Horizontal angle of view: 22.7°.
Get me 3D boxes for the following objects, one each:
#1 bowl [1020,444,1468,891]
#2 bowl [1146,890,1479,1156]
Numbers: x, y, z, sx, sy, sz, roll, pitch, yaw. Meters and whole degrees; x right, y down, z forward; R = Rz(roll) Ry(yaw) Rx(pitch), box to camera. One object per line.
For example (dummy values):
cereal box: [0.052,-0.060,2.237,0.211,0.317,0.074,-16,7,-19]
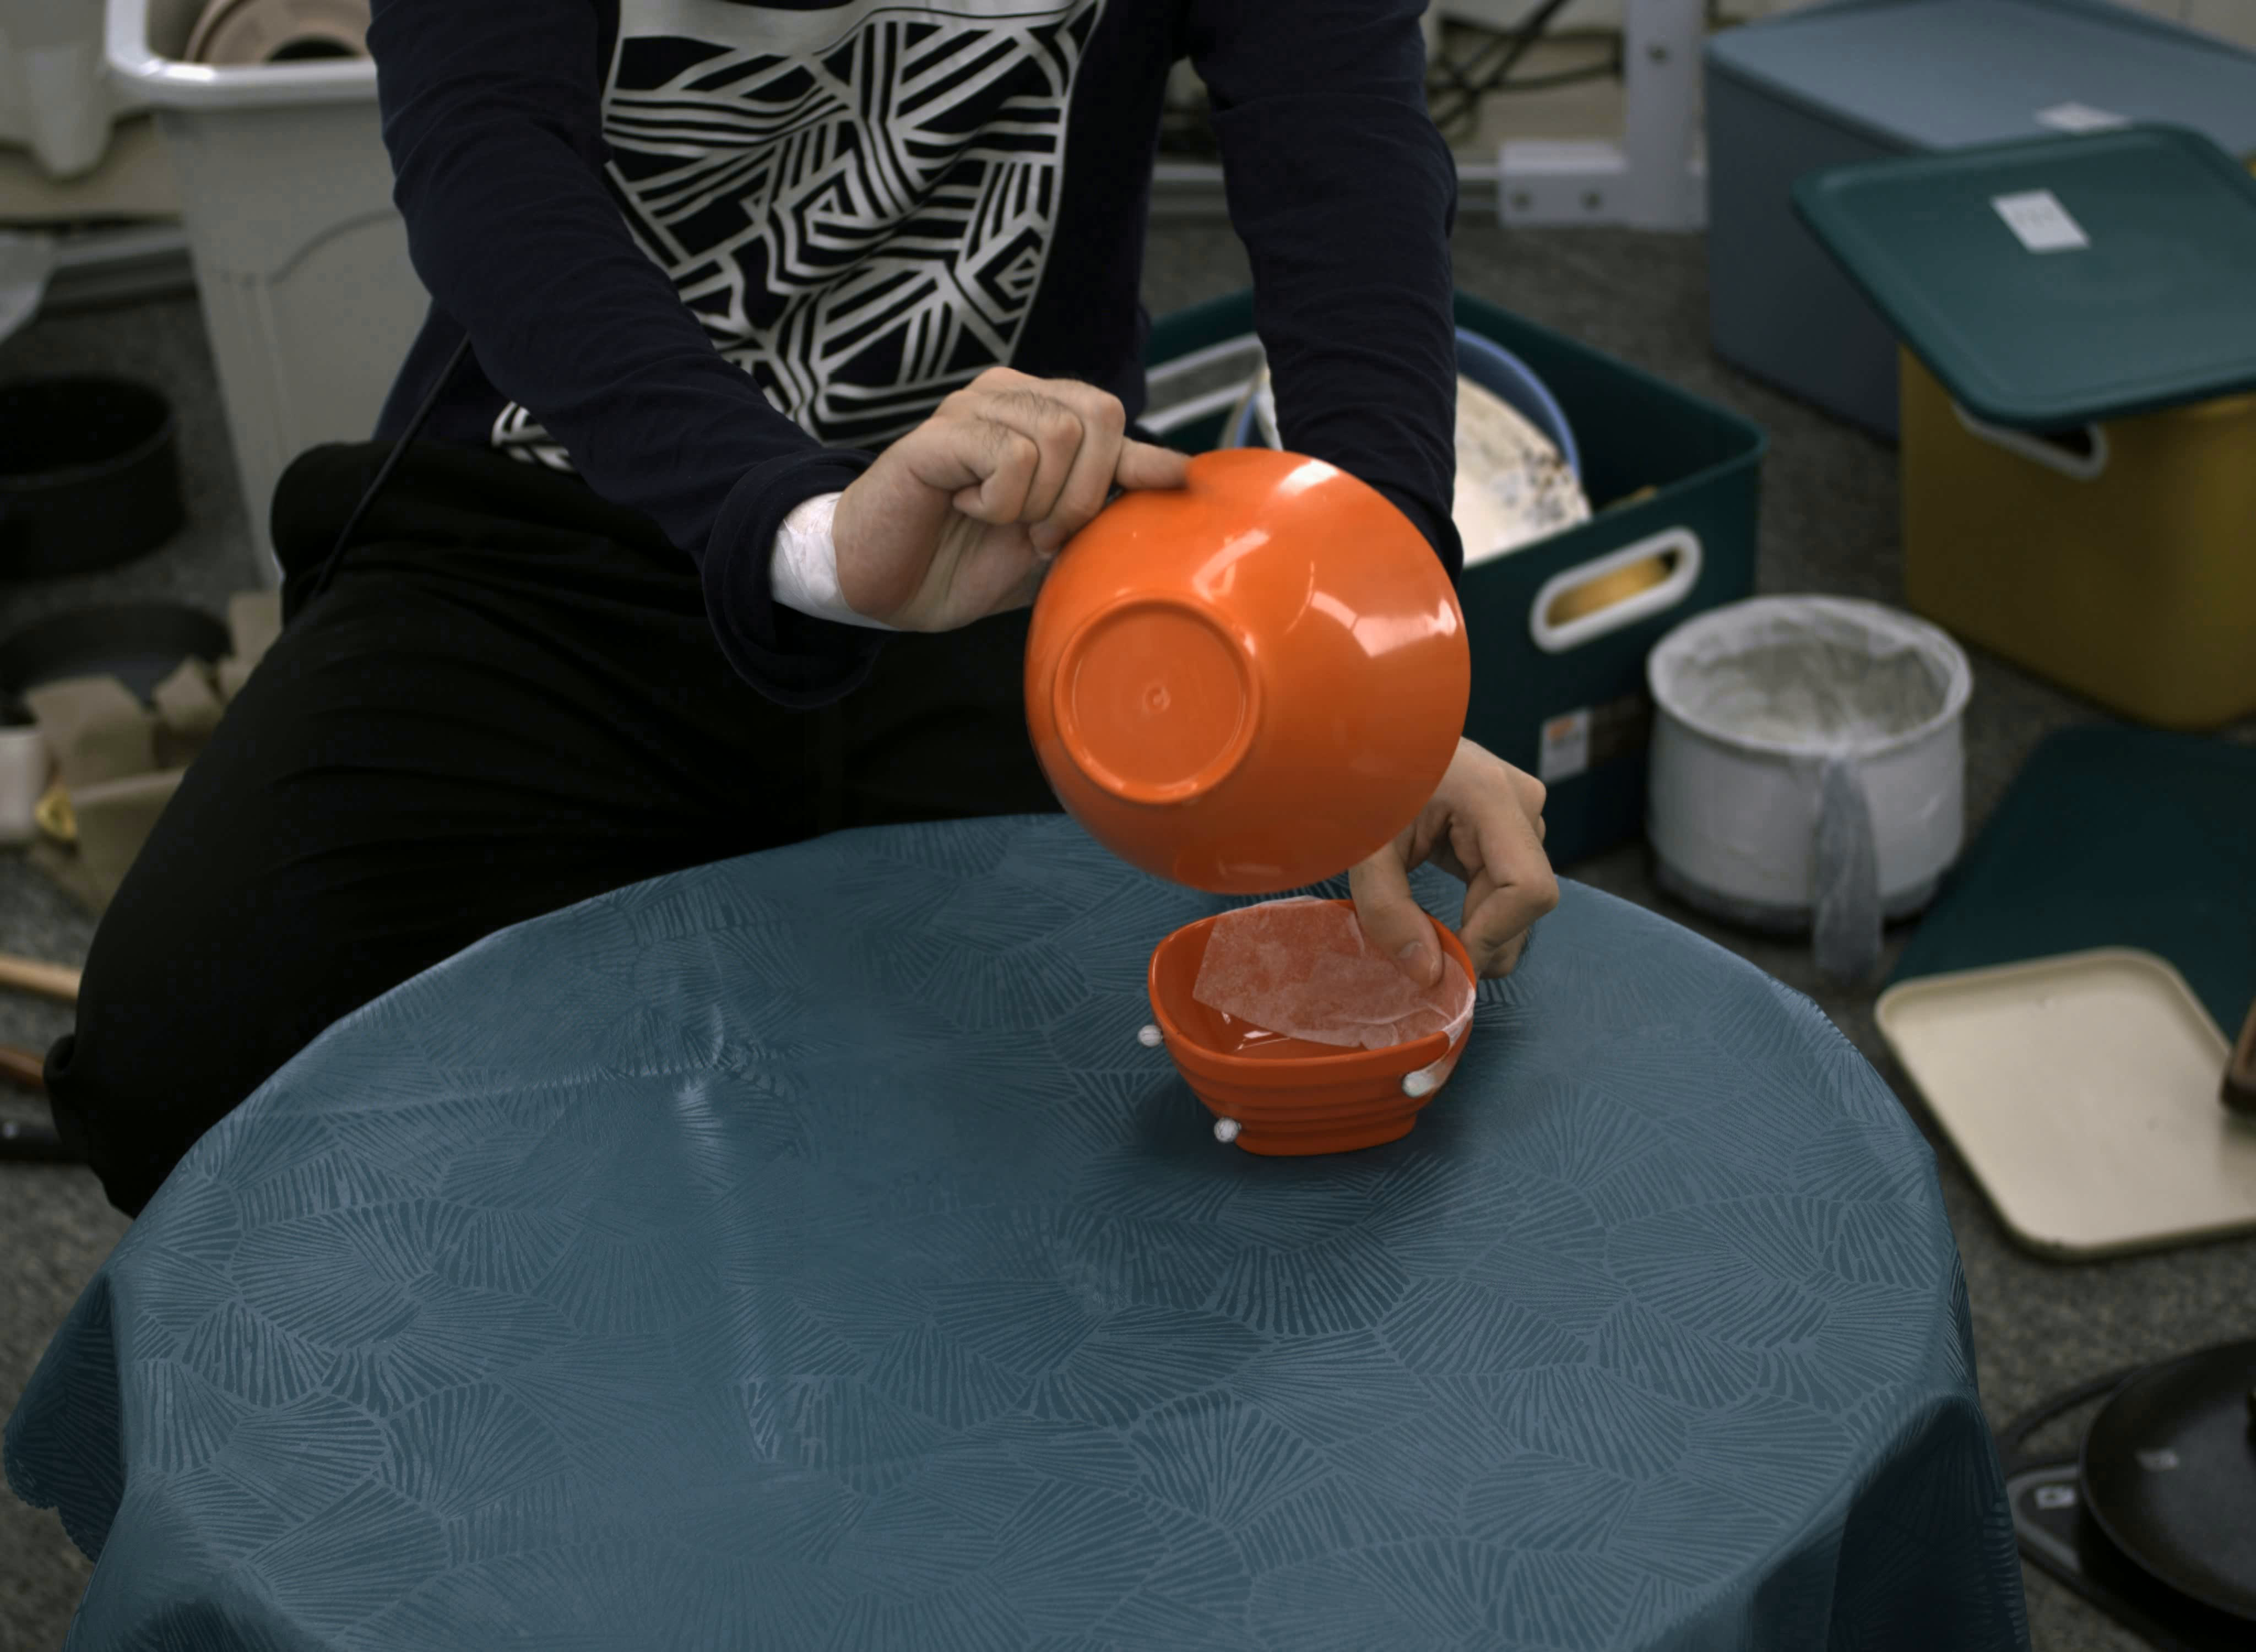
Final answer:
bowl: [0.029,-0.048,1.821,0.147,0.148,0.105,3,6,12]
bowl: [0.063,0.071,1.895,0.118,0.051,0.121,-3,29,2]
